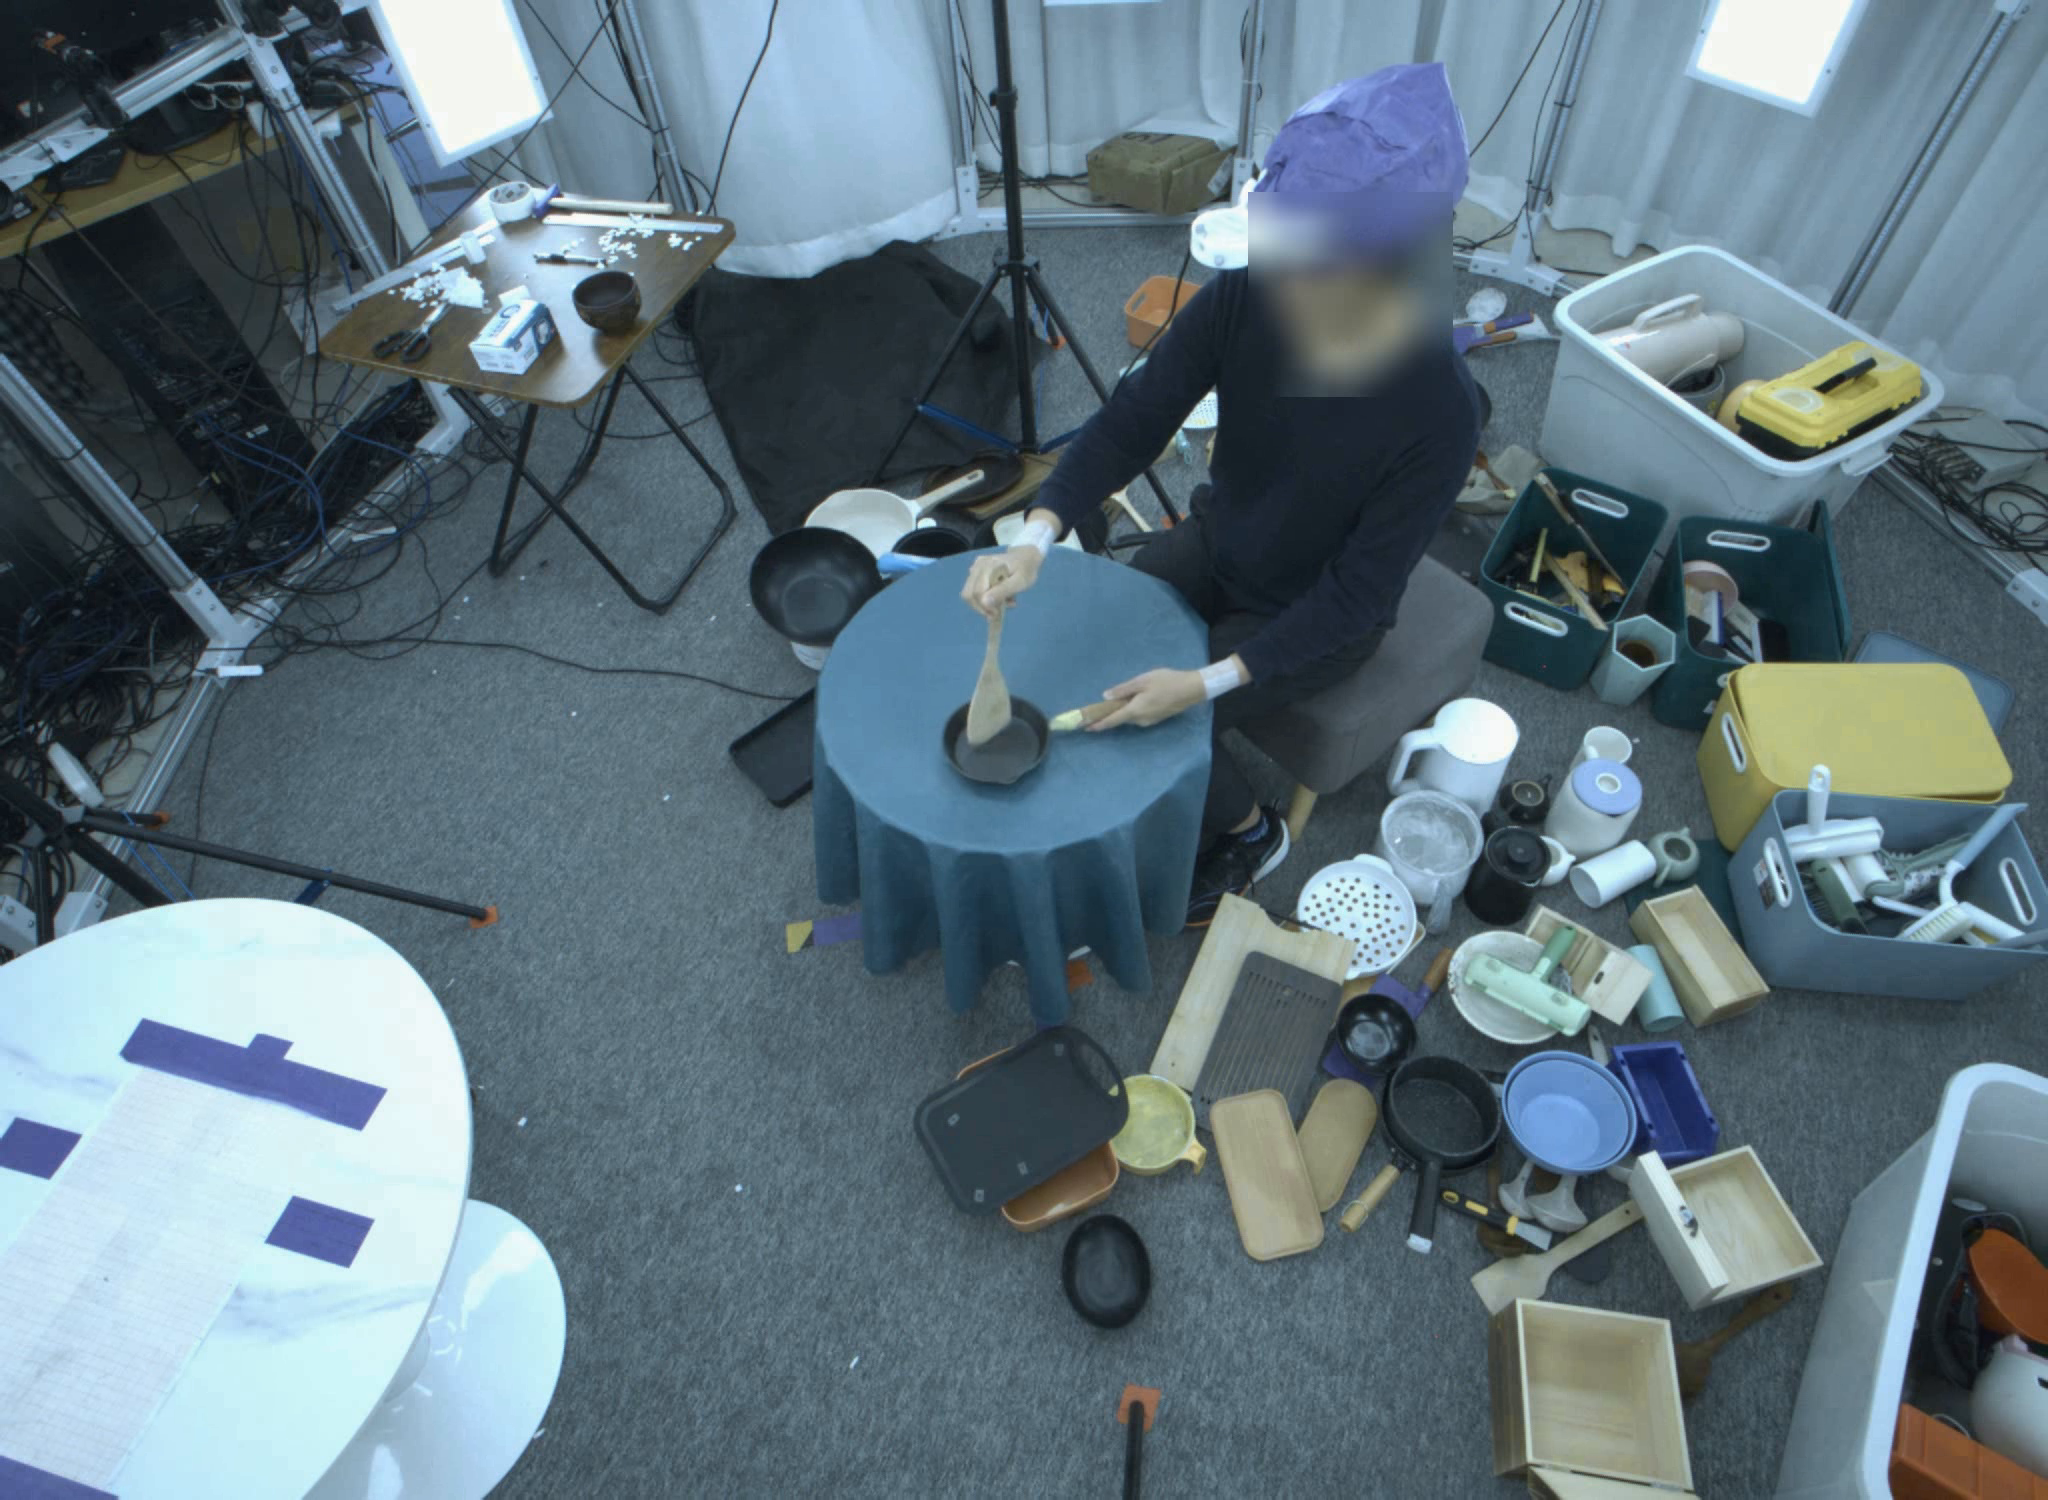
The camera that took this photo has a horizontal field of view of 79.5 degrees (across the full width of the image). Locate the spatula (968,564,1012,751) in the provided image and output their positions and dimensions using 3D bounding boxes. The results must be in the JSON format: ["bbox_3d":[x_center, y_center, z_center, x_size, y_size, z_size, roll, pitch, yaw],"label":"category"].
[{"bbox_3d":[-0.041,-0.125,1.680,0.081,0.330,0.016,-30,58,-27],"label":"spatula"}]

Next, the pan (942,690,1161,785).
[{"bbox_3d":[0.042,-0.033,1.778,0.325,0.050,0.166,-13,55,-5],"label":"pan"}]
